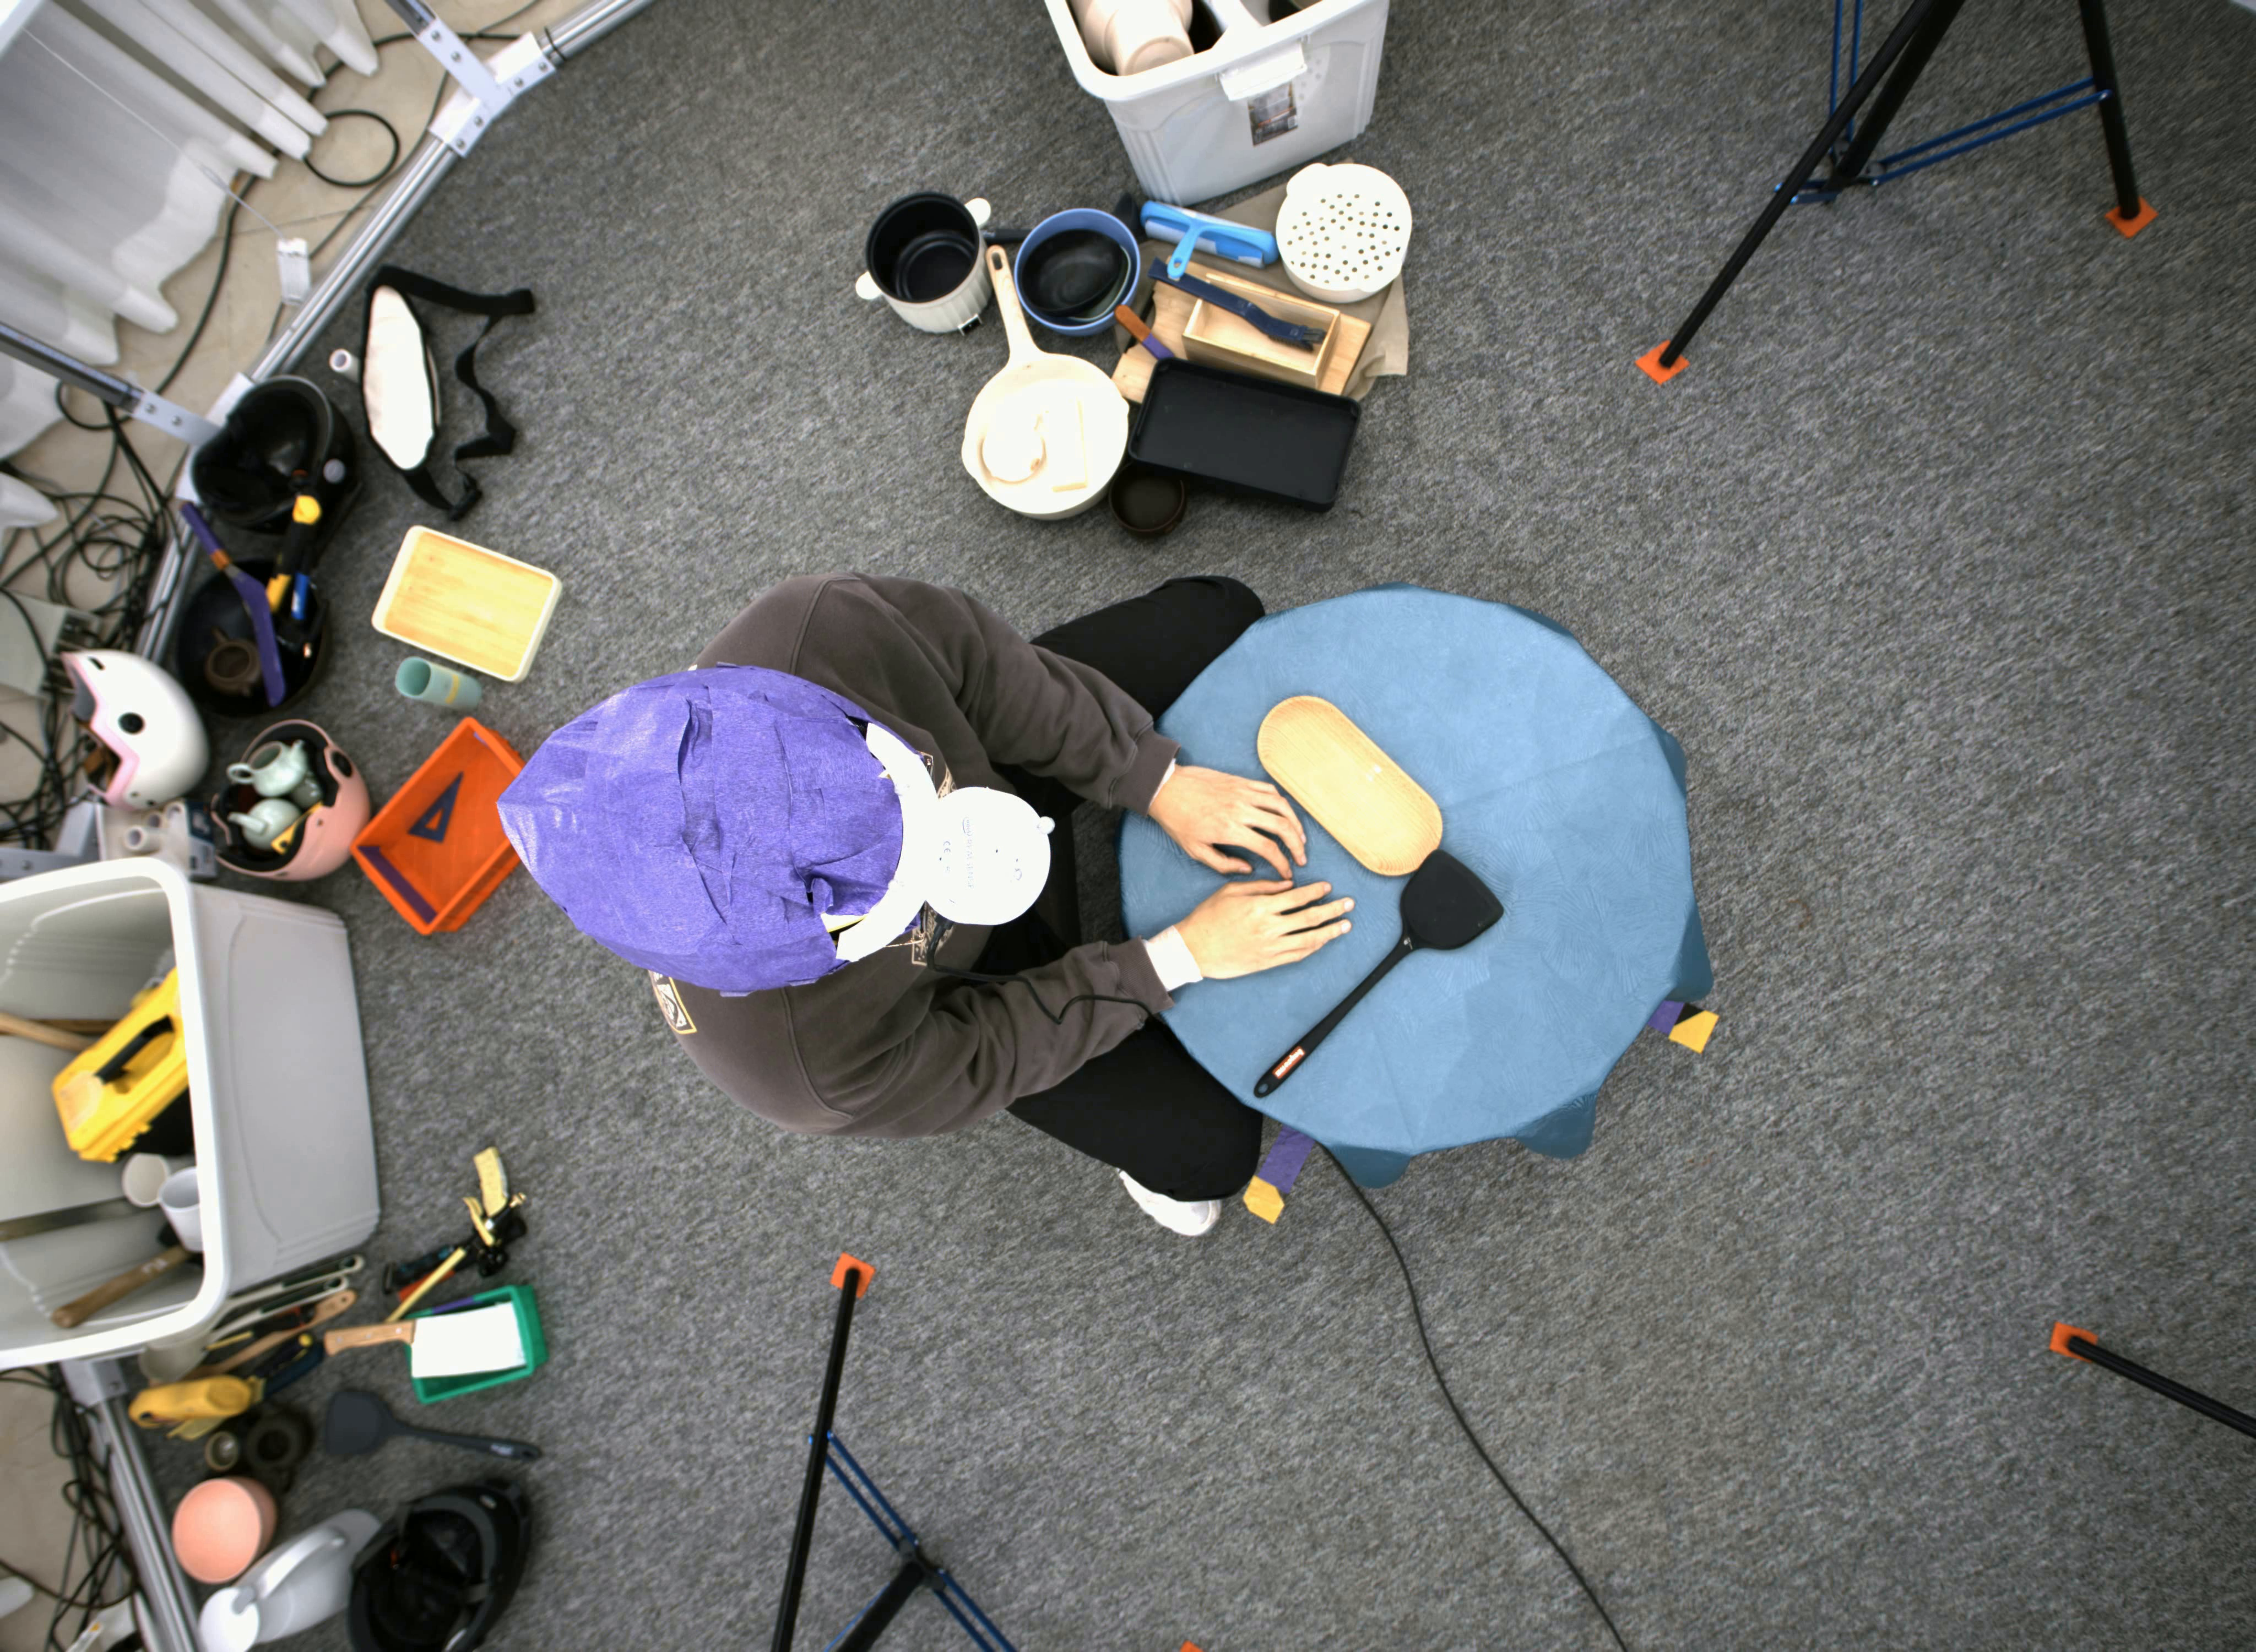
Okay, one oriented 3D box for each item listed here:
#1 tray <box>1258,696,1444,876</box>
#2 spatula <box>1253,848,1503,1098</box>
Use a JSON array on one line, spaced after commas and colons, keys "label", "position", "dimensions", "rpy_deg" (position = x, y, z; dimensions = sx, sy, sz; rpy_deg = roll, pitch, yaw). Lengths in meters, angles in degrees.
[{"label": "tray", "position": [0.235, -0.044, 1.461], "dimensions": [0.230, 0.020, 0.102], "rpy_deg": [45, 96, 8]}, {"label": "spatula", "position": [0.245, 0.166, 1.439], "dimensions": [0.327, 0.040, 0.099], "rpy_deg": [-46, 79, 5]}]
